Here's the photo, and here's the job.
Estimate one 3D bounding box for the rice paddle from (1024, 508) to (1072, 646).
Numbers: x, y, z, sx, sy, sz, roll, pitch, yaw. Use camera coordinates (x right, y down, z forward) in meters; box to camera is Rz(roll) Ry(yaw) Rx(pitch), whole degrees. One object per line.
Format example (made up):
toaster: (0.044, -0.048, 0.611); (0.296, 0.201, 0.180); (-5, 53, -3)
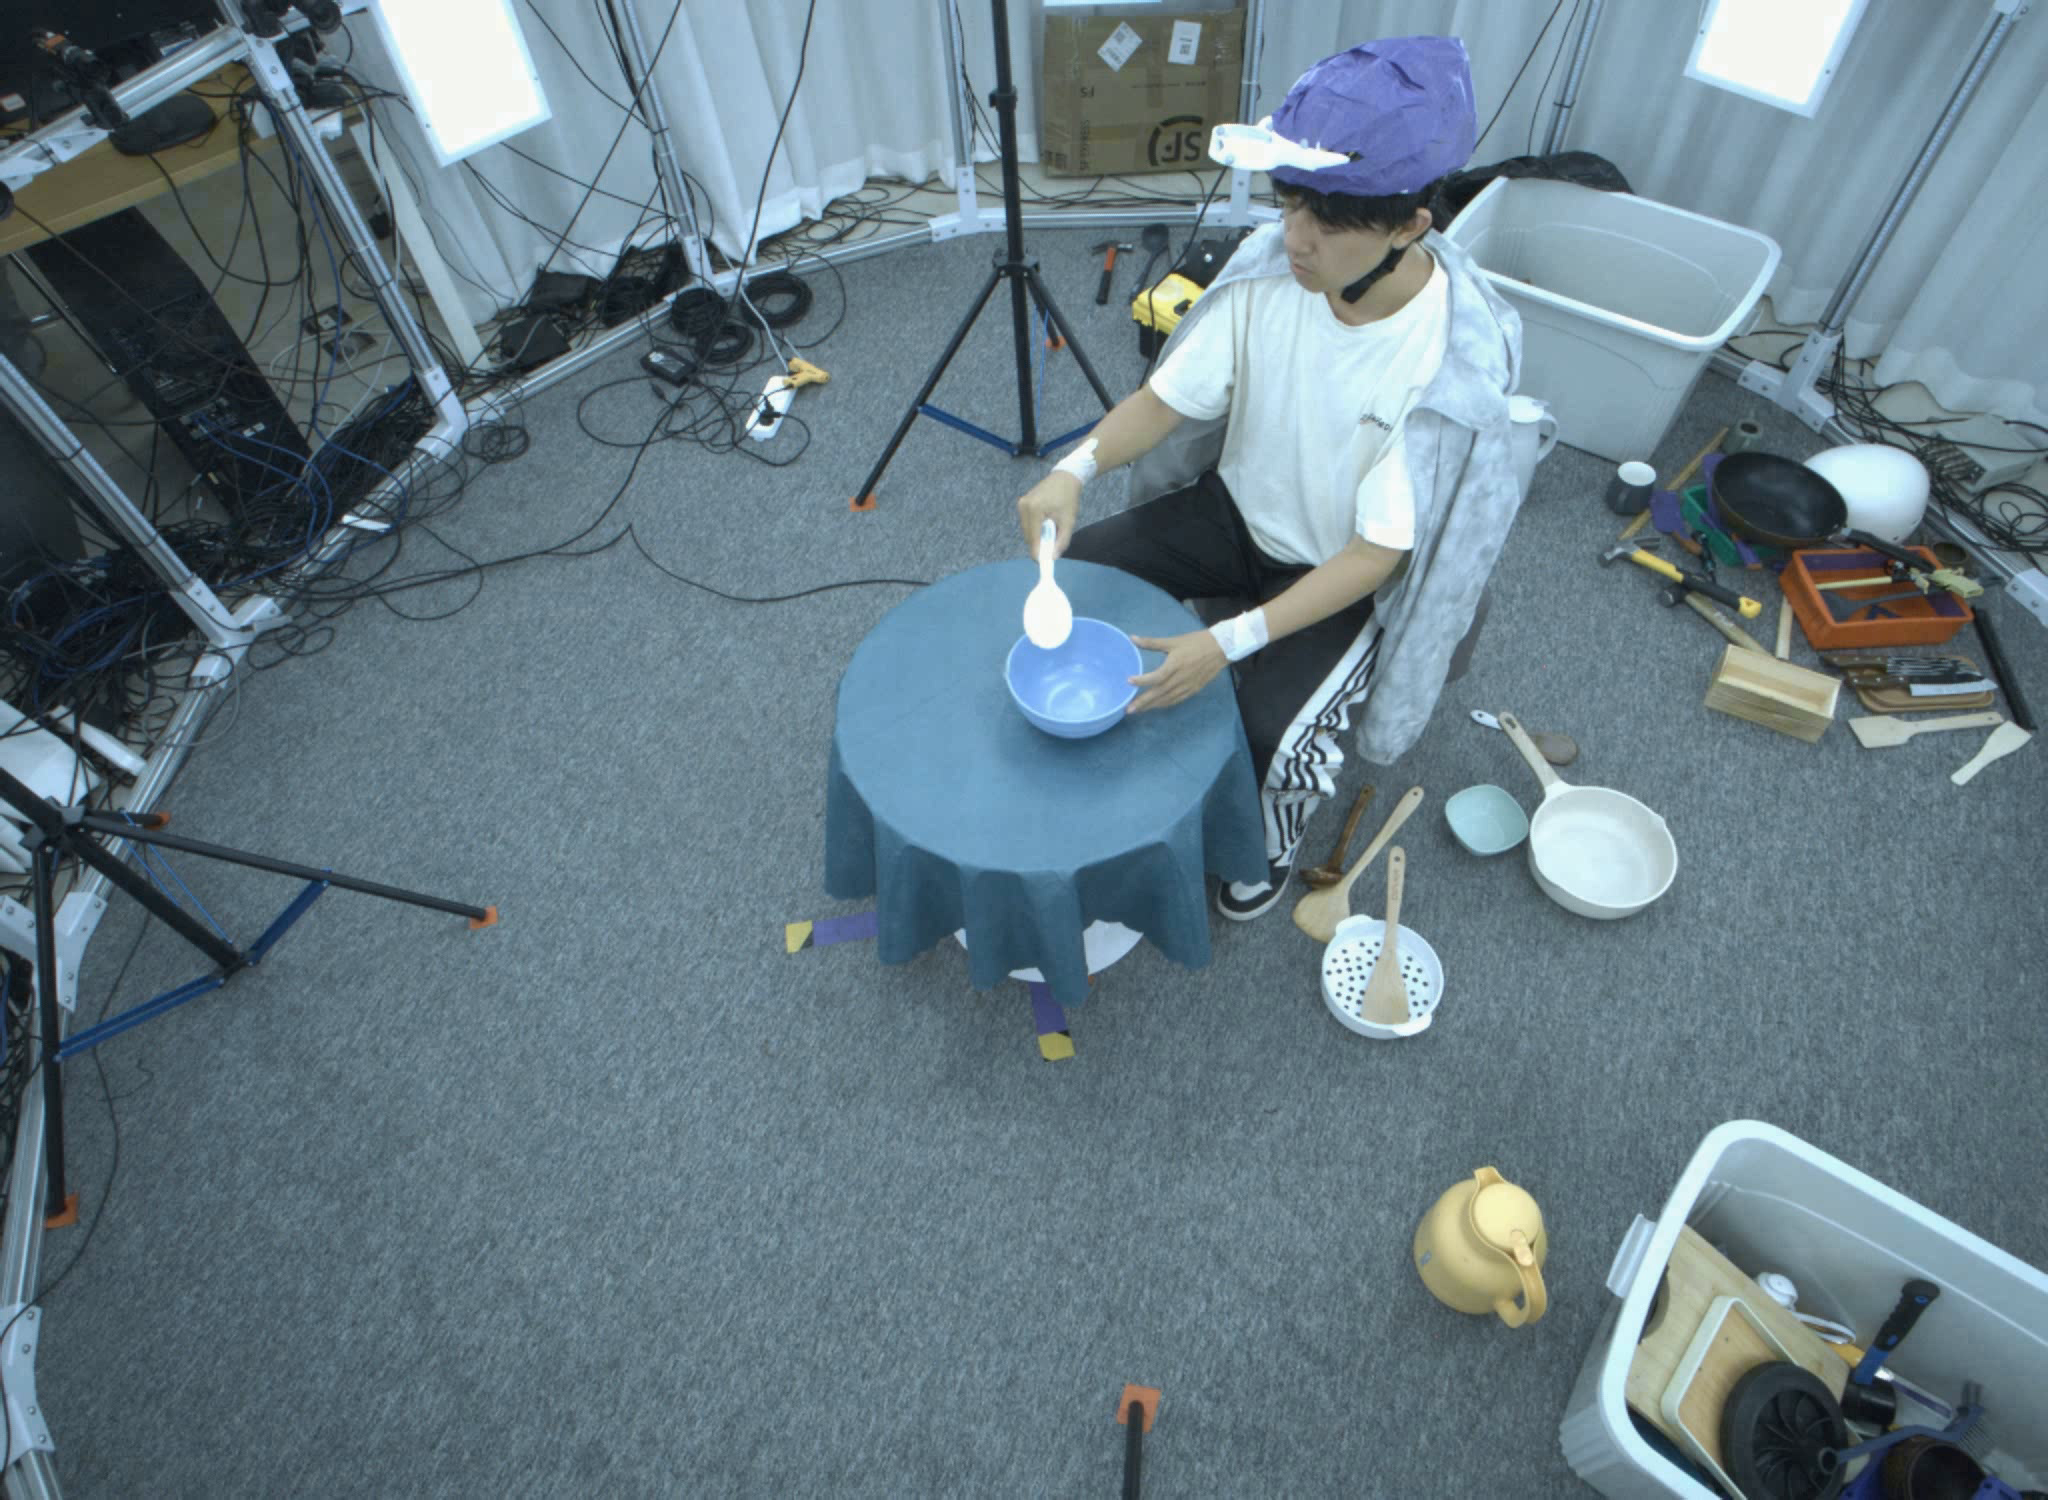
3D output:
rice paddle: (0.032, -0.248, 1.760); (0.069, 0.029, 0.204); (-1, 78, -3)

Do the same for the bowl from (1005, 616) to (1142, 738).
bowl: (0.074, -0.091, 1.792); (0.196, 0.096, 0.194); (-1, 55, 3)
